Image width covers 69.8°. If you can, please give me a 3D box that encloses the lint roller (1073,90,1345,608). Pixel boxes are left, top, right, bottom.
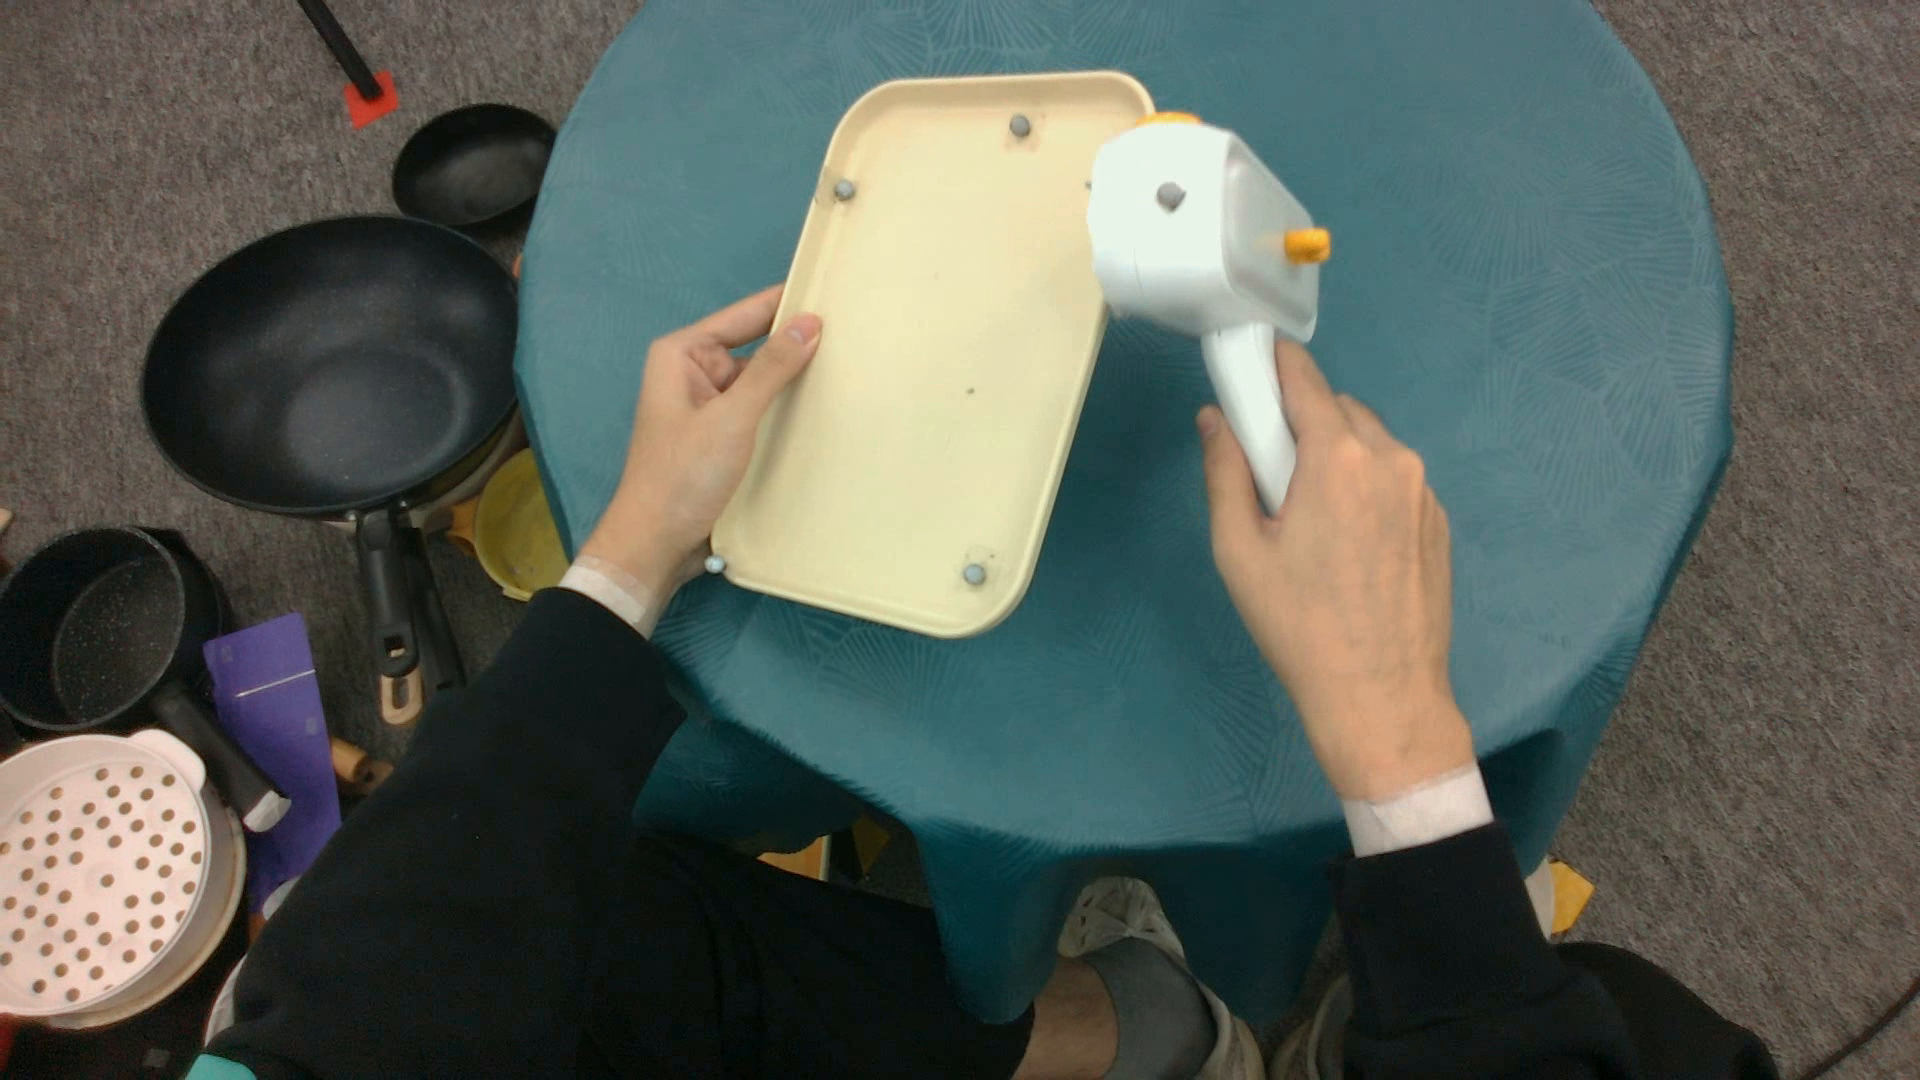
[{"bbox_3d":[0.108,-0.066,0.537,0.074,0.193,0.192,-8,92,20],"label":"lint roller"}]

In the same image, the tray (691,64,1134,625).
[{"bbox_3d":[-0.022,-0.088,0.583,0.171,0.017,0.240,12,81,34],"label":"tray"}]
